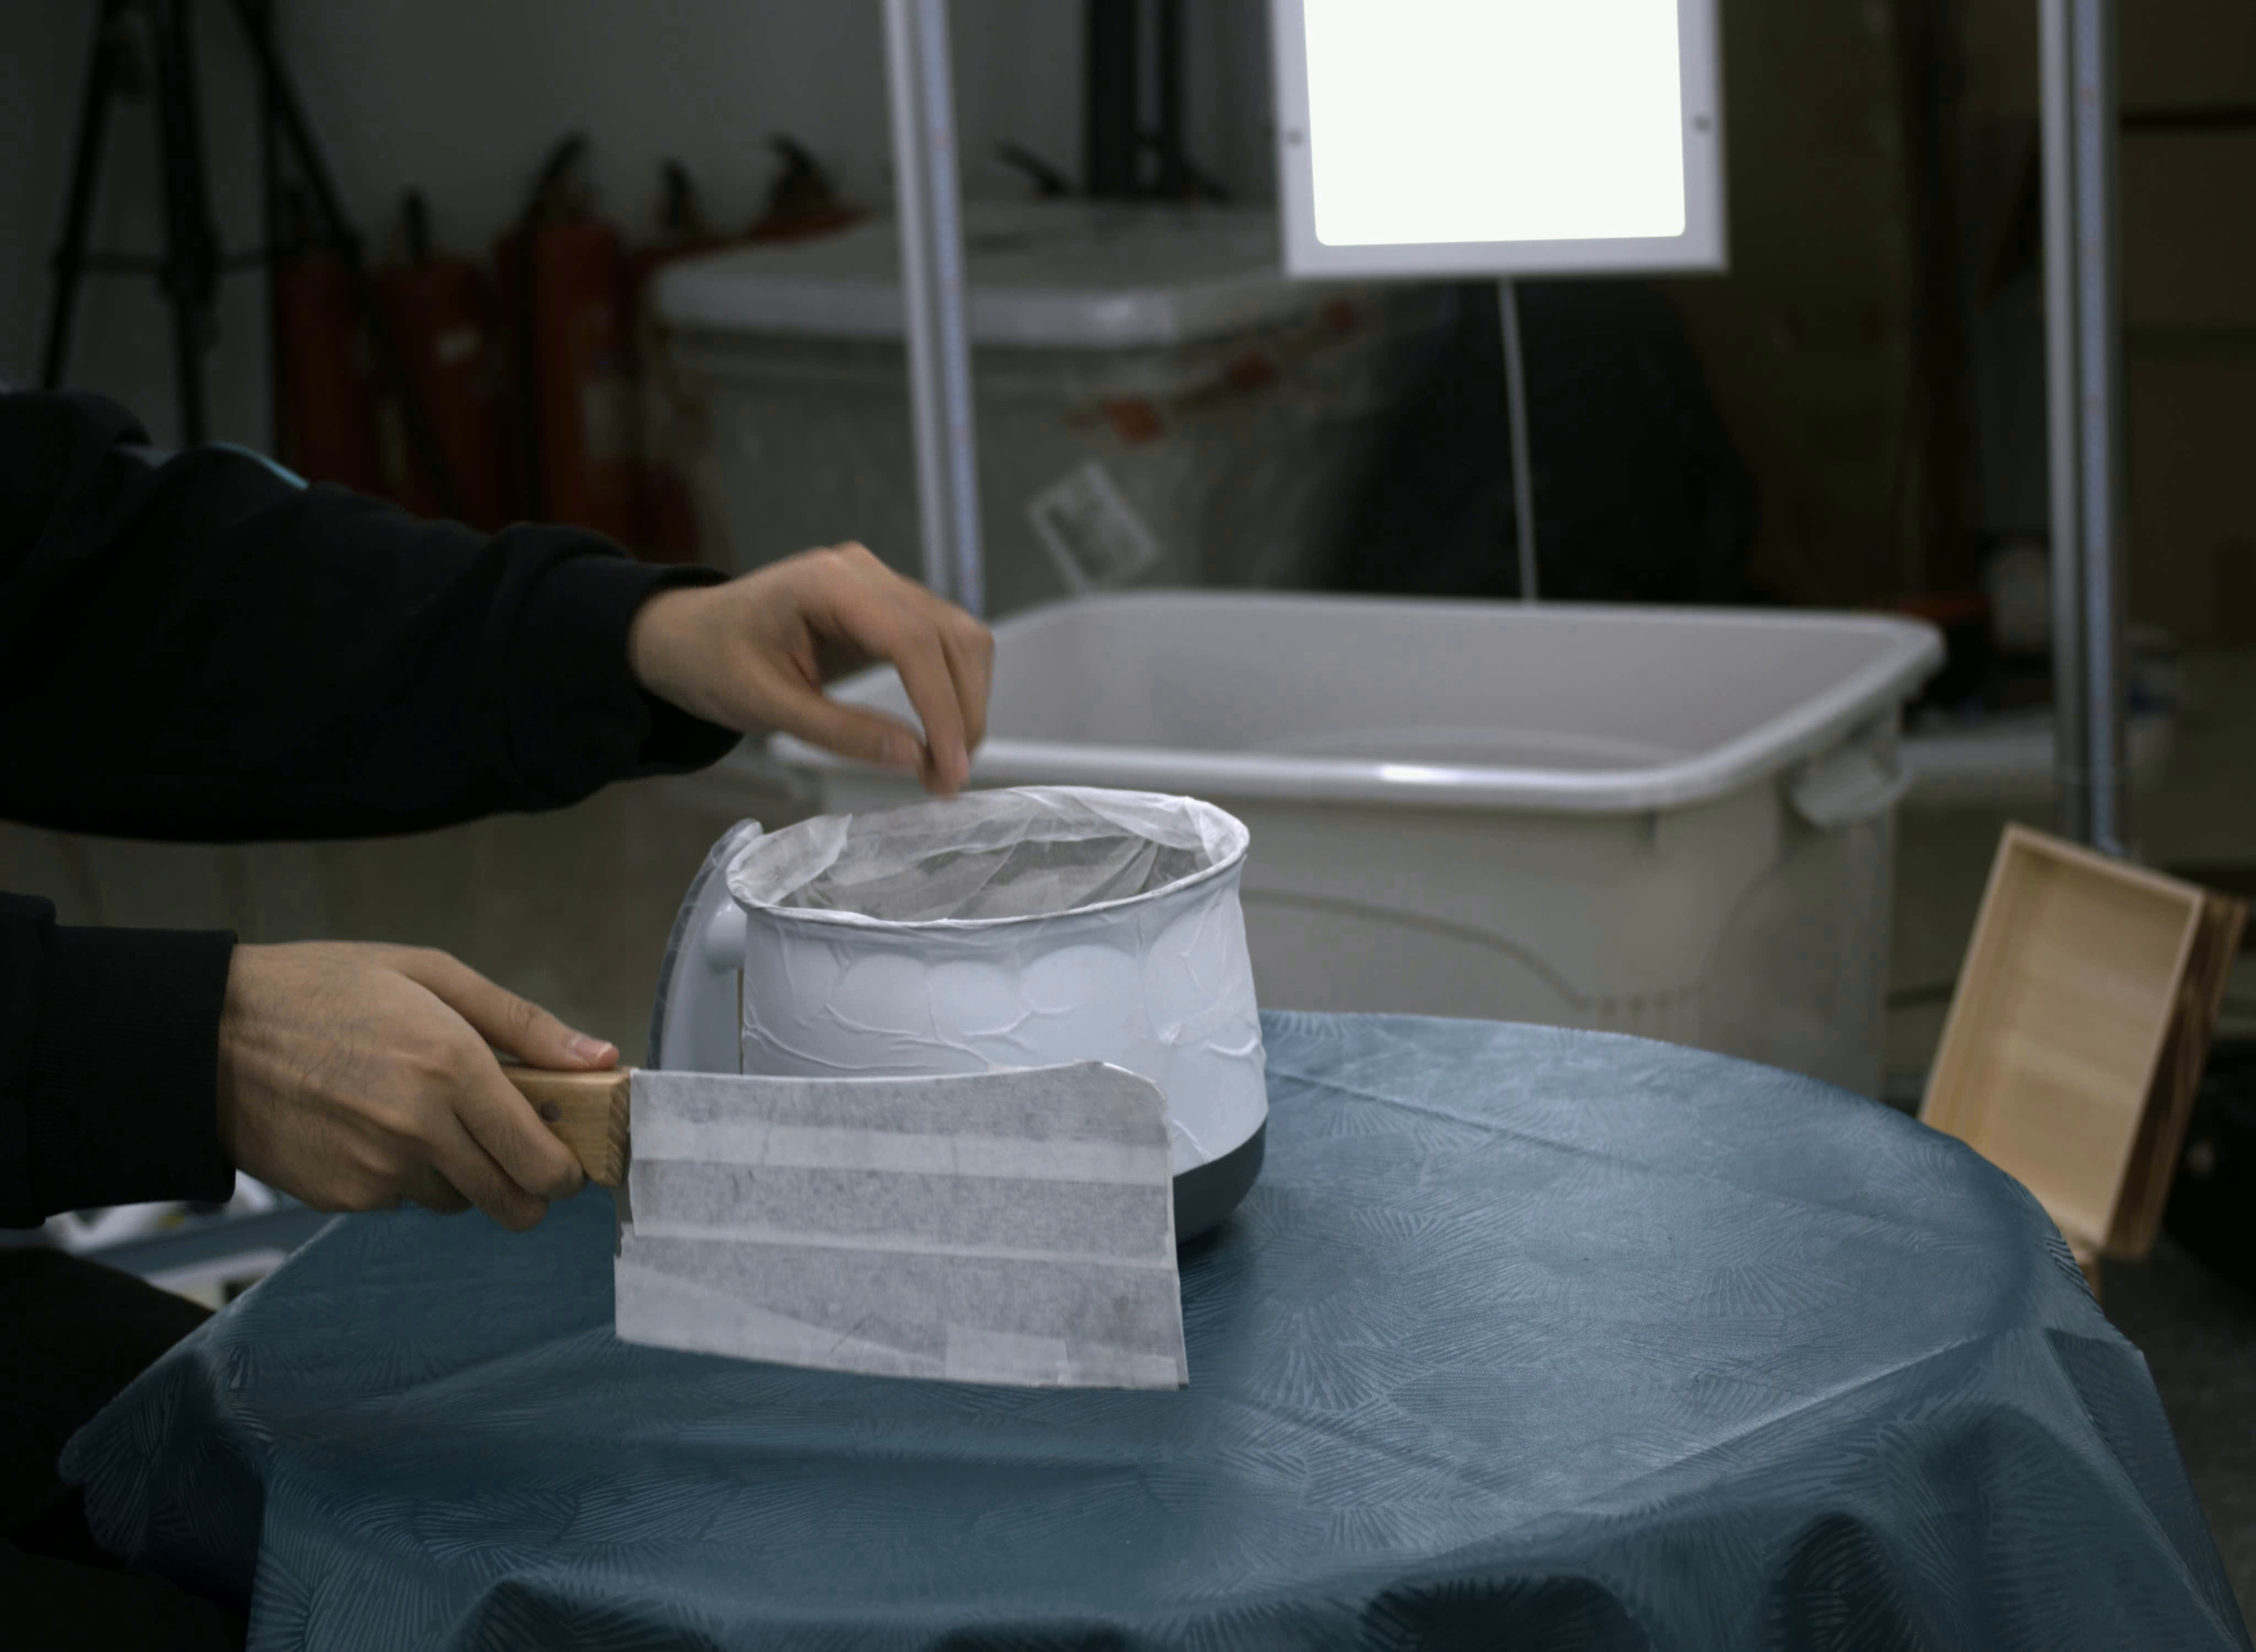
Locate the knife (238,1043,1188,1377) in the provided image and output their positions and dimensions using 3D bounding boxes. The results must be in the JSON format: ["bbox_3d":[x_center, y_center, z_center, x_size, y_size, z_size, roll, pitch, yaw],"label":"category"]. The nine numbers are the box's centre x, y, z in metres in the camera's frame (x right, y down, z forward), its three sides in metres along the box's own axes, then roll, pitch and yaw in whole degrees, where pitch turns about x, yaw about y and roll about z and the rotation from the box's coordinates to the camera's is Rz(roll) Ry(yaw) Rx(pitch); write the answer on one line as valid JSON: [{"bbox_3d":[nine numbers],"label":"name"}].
[{"bbox_3d":[-0.128,0.109,1.685,0.319,0.114,0.021,6,9,20],"label":"knife"}]

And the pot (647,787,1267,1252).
[{"bbox_3d":[-0.066,0.068,1.870,0.238,0.137,0.174,5,16,32],"label":"pot"}]
